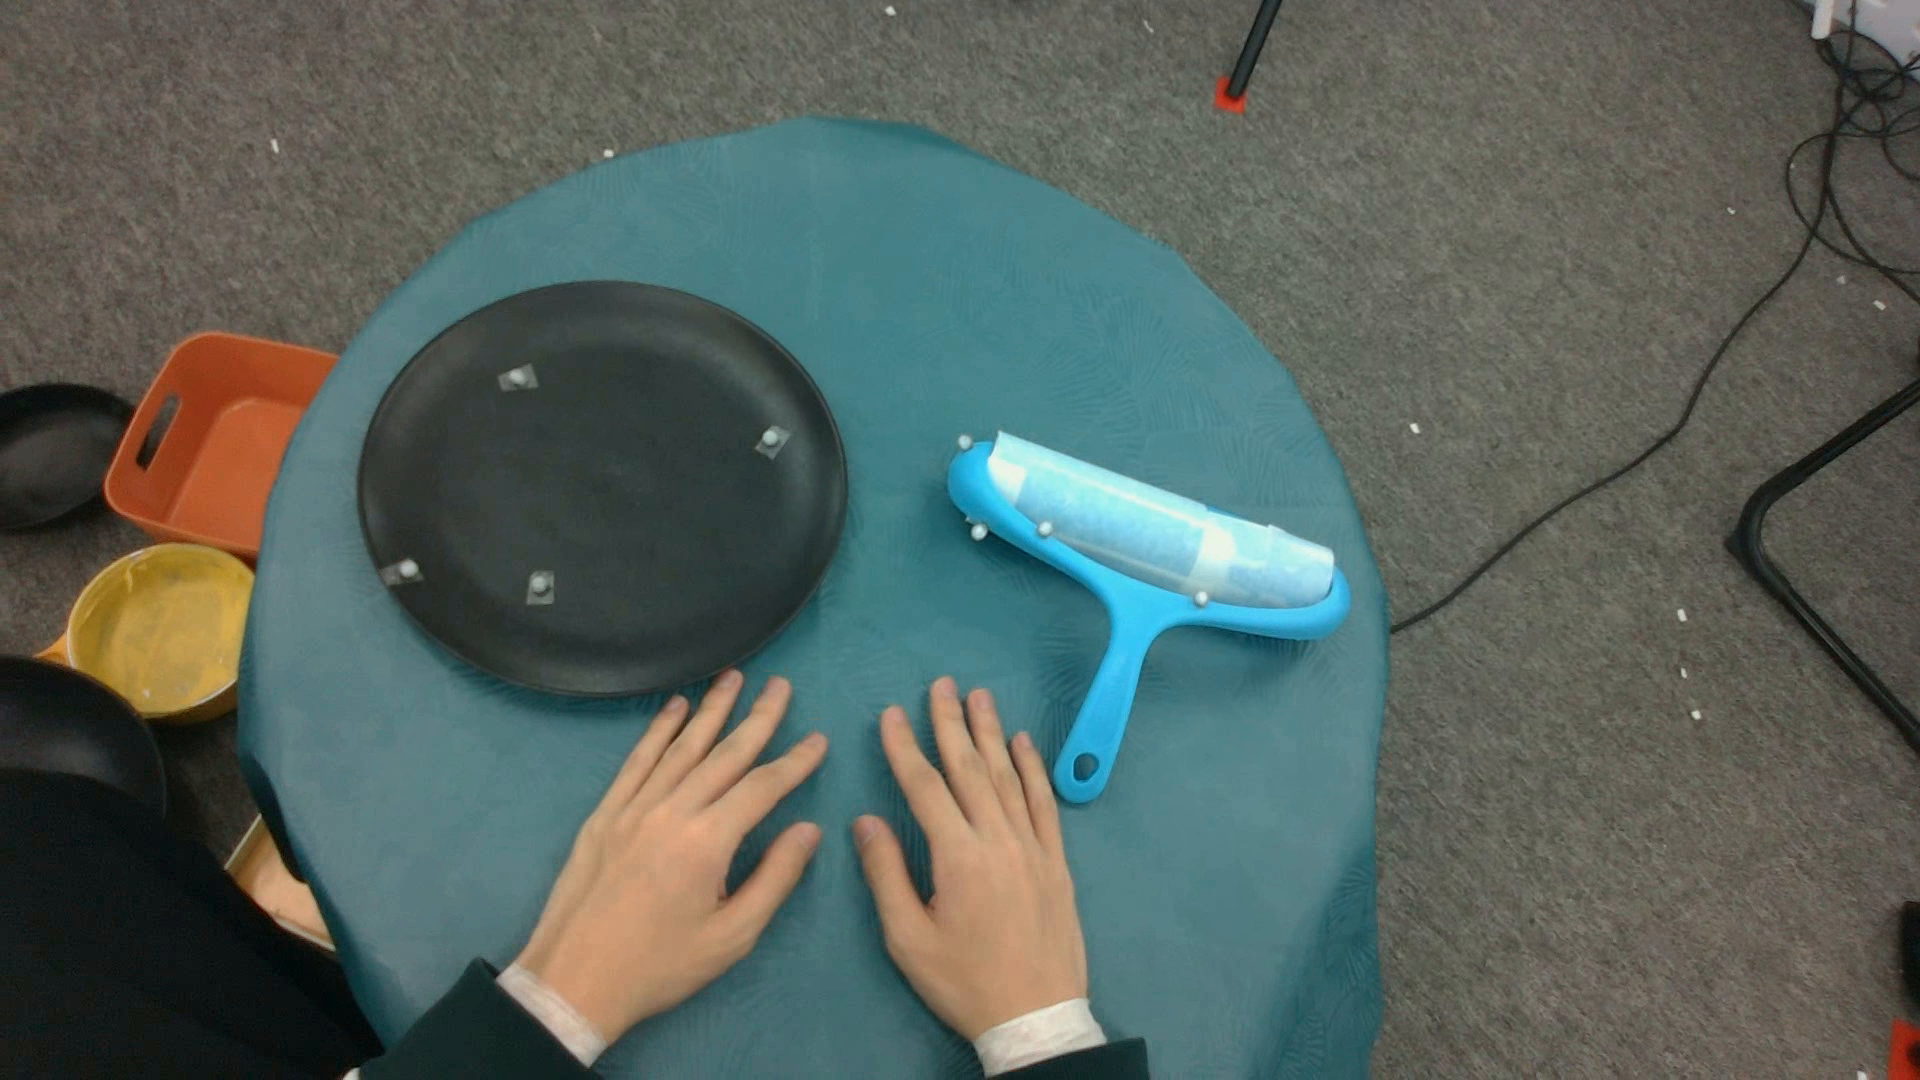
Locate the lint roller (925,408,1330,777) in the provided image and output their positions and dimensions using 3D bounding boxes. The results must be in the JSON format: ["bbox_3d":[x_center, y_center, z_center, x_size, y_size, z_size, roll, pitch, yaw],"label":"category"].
[{"bbox_3d":[0.080,0.032,0.723,0.229,0.067,0.181,15,63,-5],"label":"lint roller"}]

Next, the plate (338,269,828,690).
[{"bbox_3d":[-0.192,-0.035,0.718,0.244,0.023,0.245,5,64,-9],"label":"plate"}]
